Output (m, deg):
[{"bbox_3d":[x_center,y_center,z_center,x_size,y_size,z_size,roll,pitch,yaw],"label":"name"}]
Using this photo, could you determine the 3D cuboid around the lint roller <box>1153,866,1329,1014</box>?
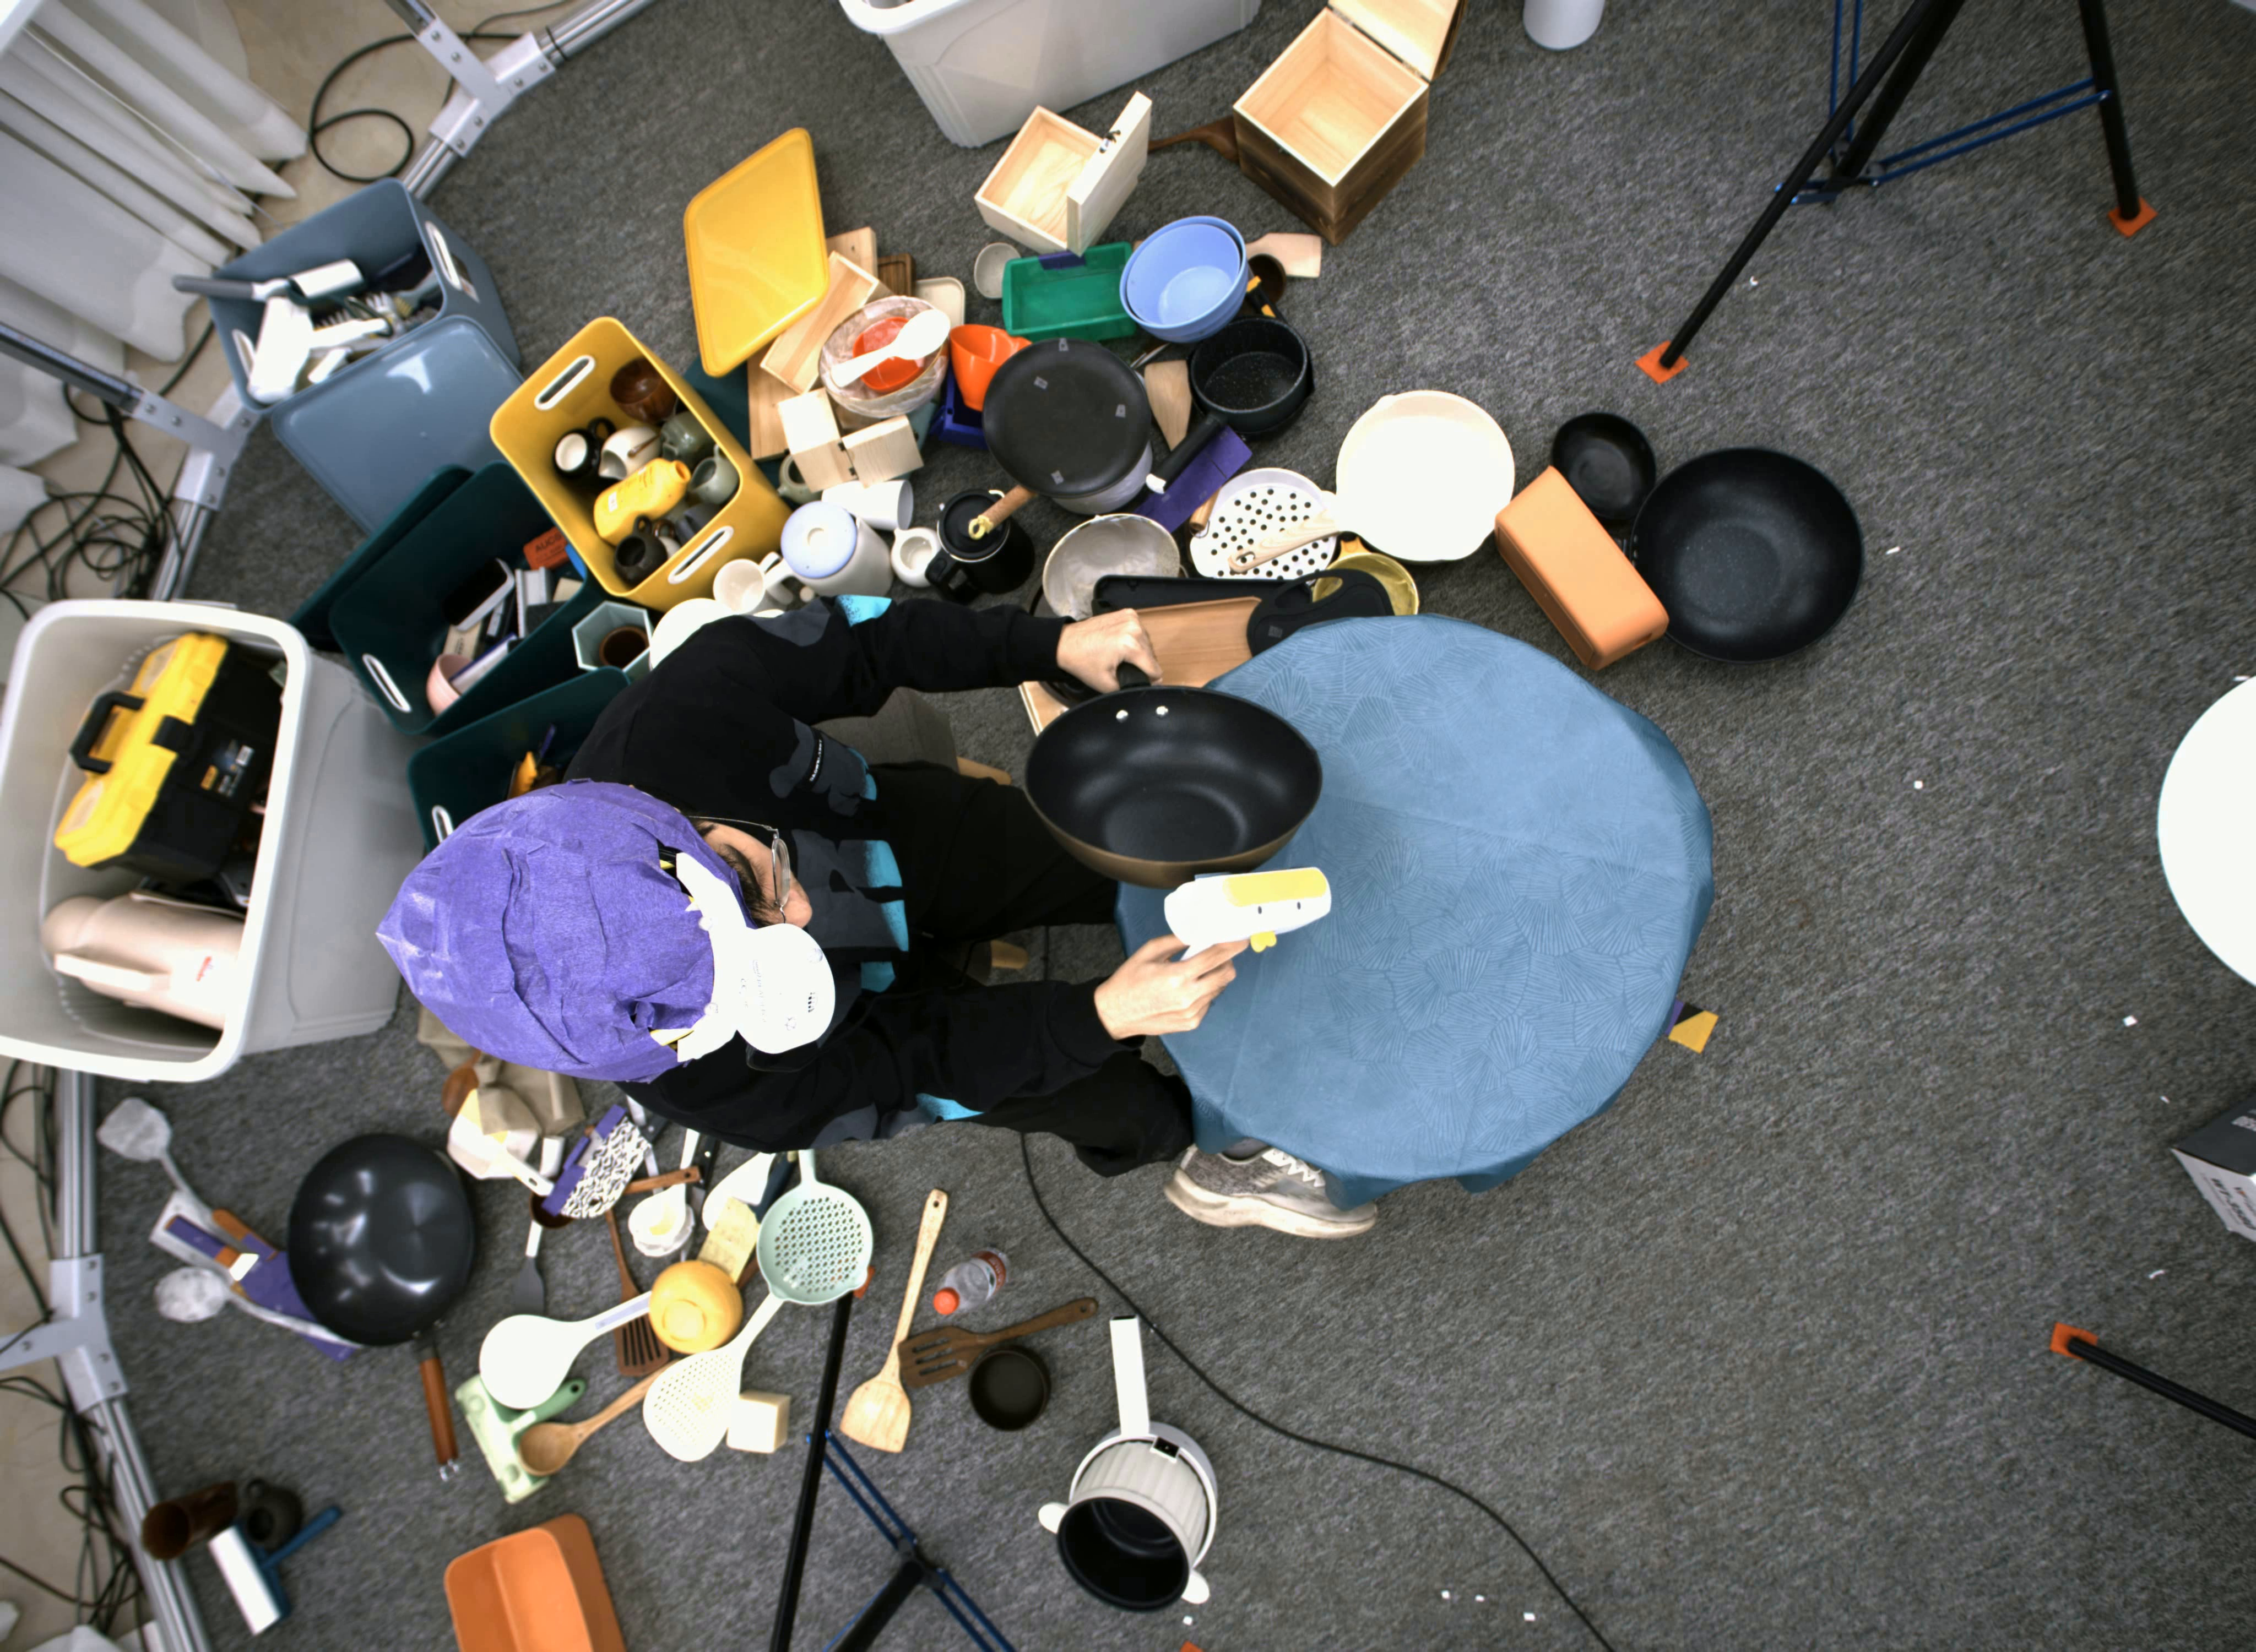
[{"bbox_3d":[0.077,0.108,1.284,0.197,0.190,0.073,-43,68,41],"label":"lint roller"}]

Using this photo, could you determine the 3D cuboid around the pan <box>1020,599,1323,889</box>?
[{"bbox_3d":[0.020,-0.084,1.392,0.287,0.089,0.453,-8,41,-10],"label":"pan"}]
